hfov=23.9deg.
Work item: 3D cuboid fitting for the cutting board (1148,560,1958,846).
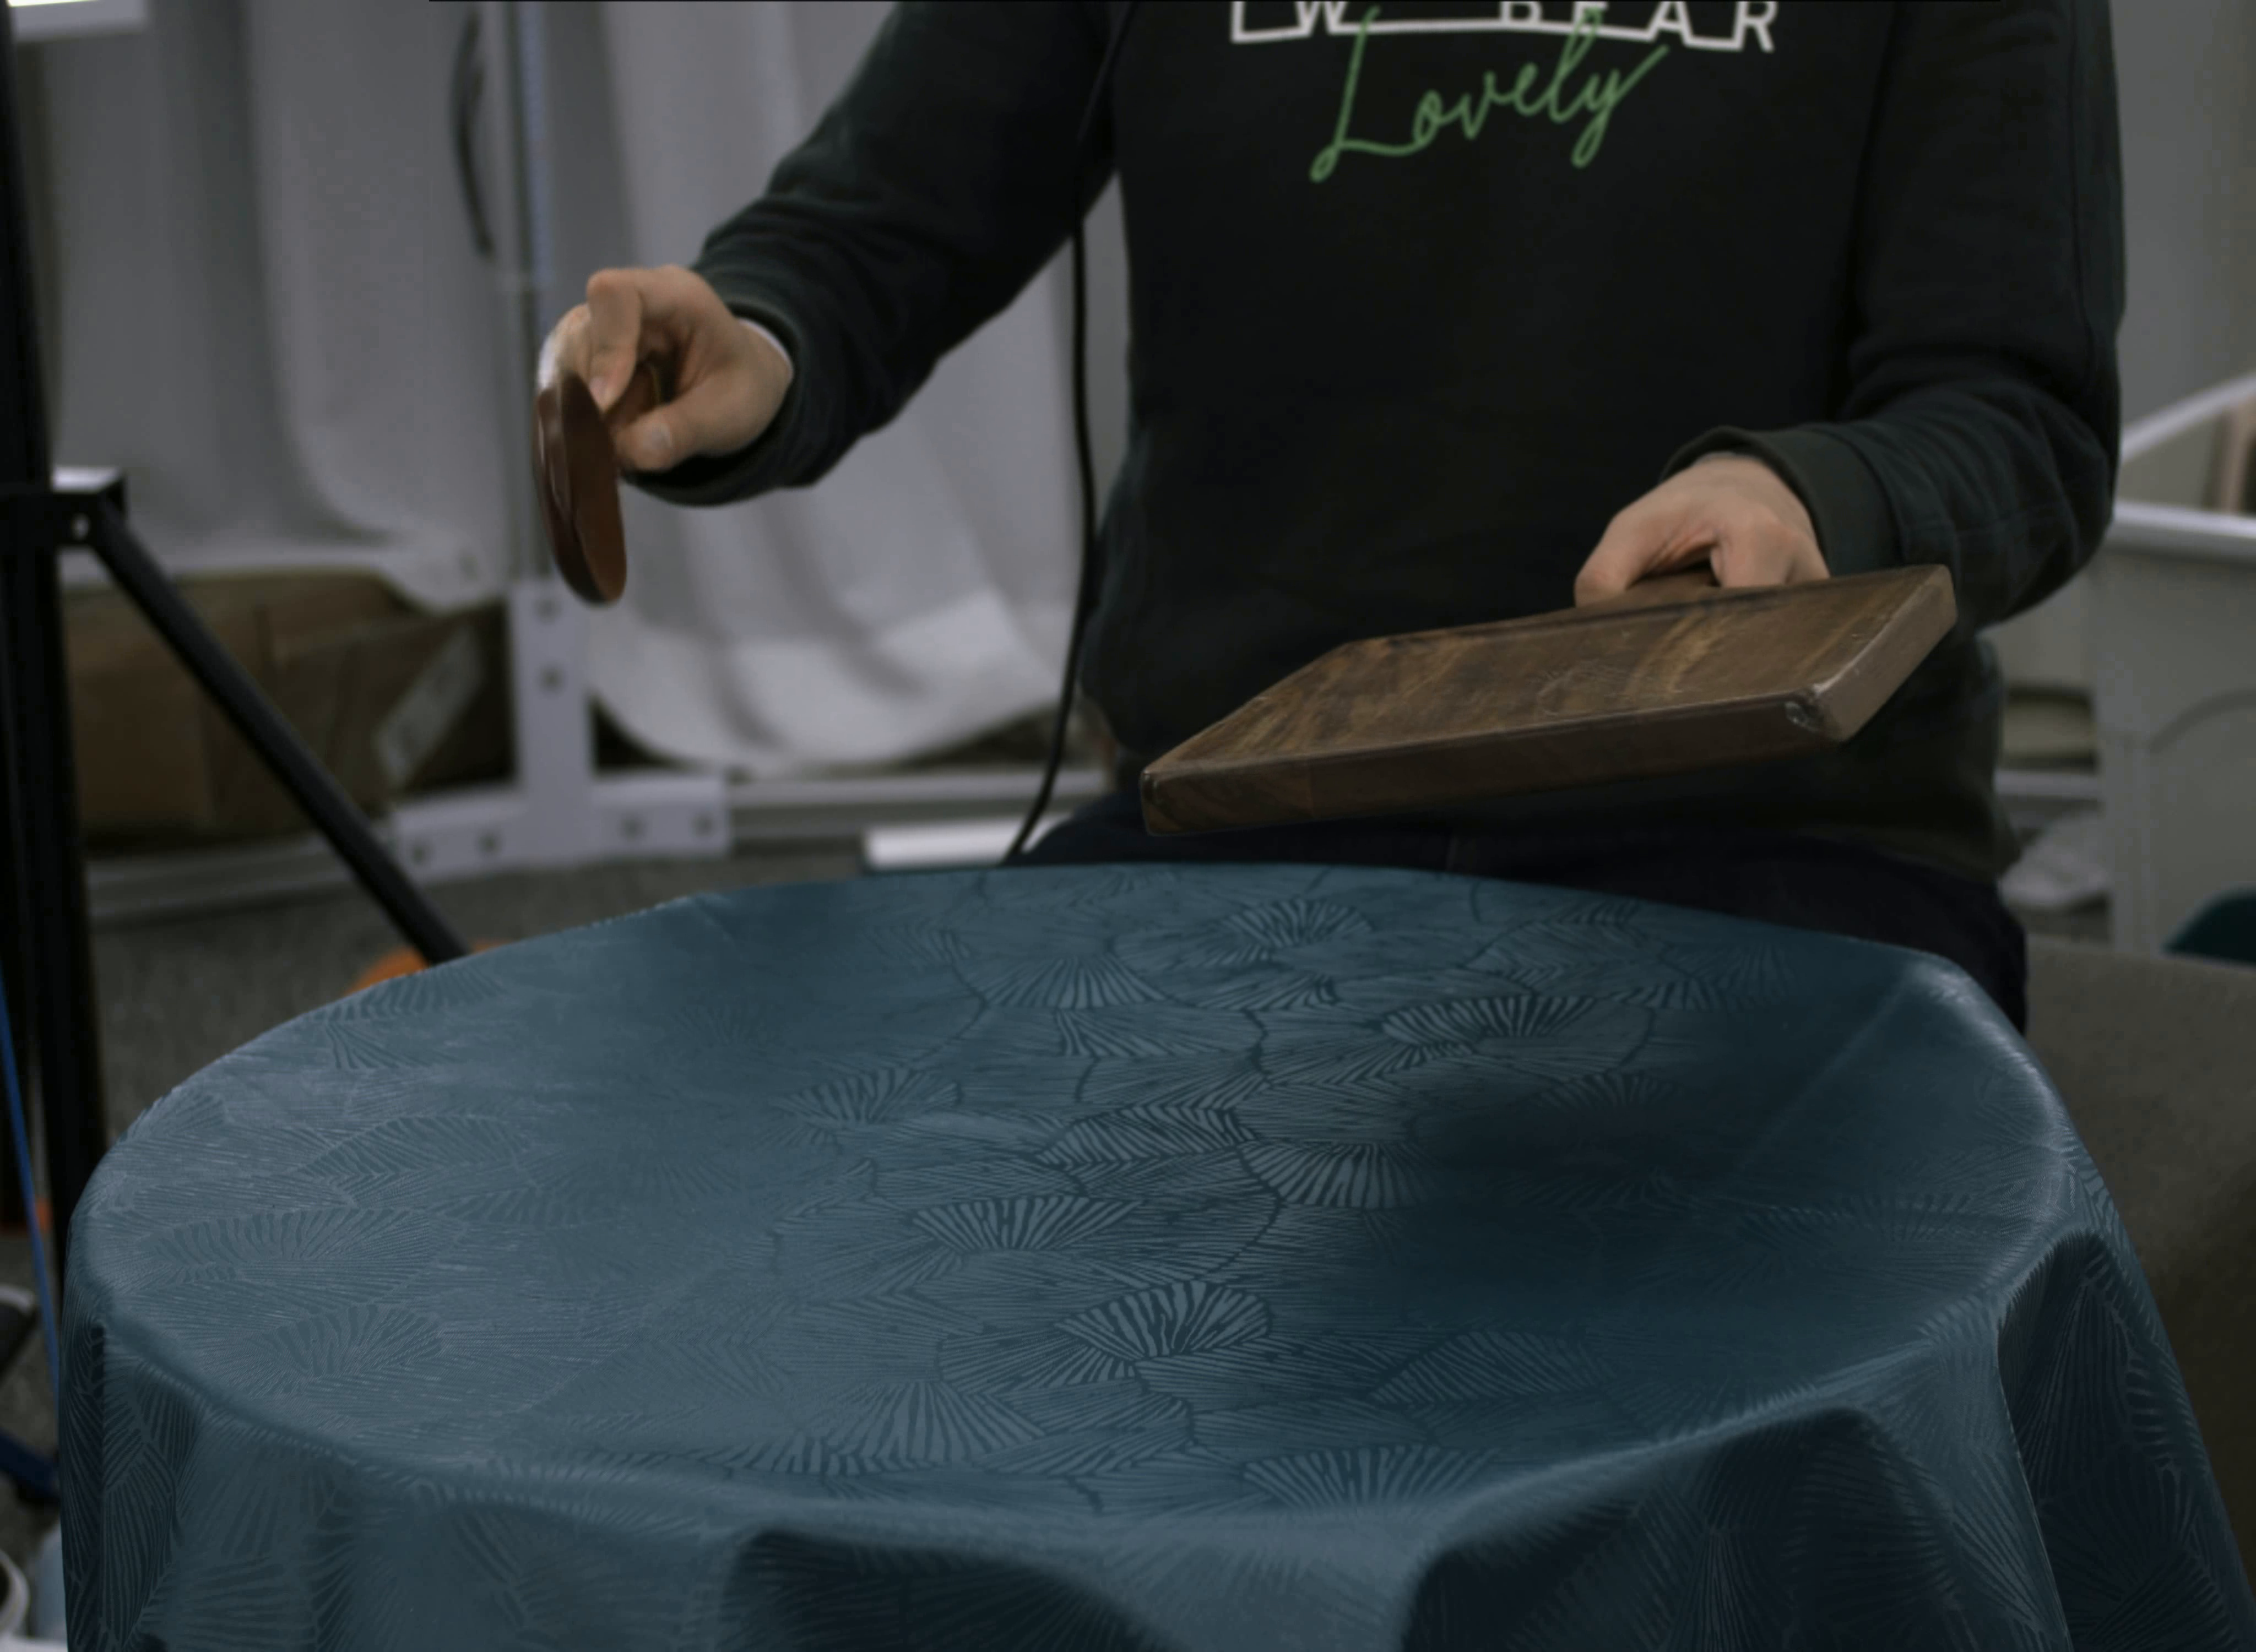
[{"bbox_3d":[0.141,-0.045,1.571,0.203,0.023,0.348,-8,8,17],"label":"cutting board"}]

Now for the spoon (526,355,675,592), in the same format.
[{"bbox_3d":[-0.166,-0.121,1.697,0.017,0.075,0.216,-17,12,7],"label":"spoon"}]
